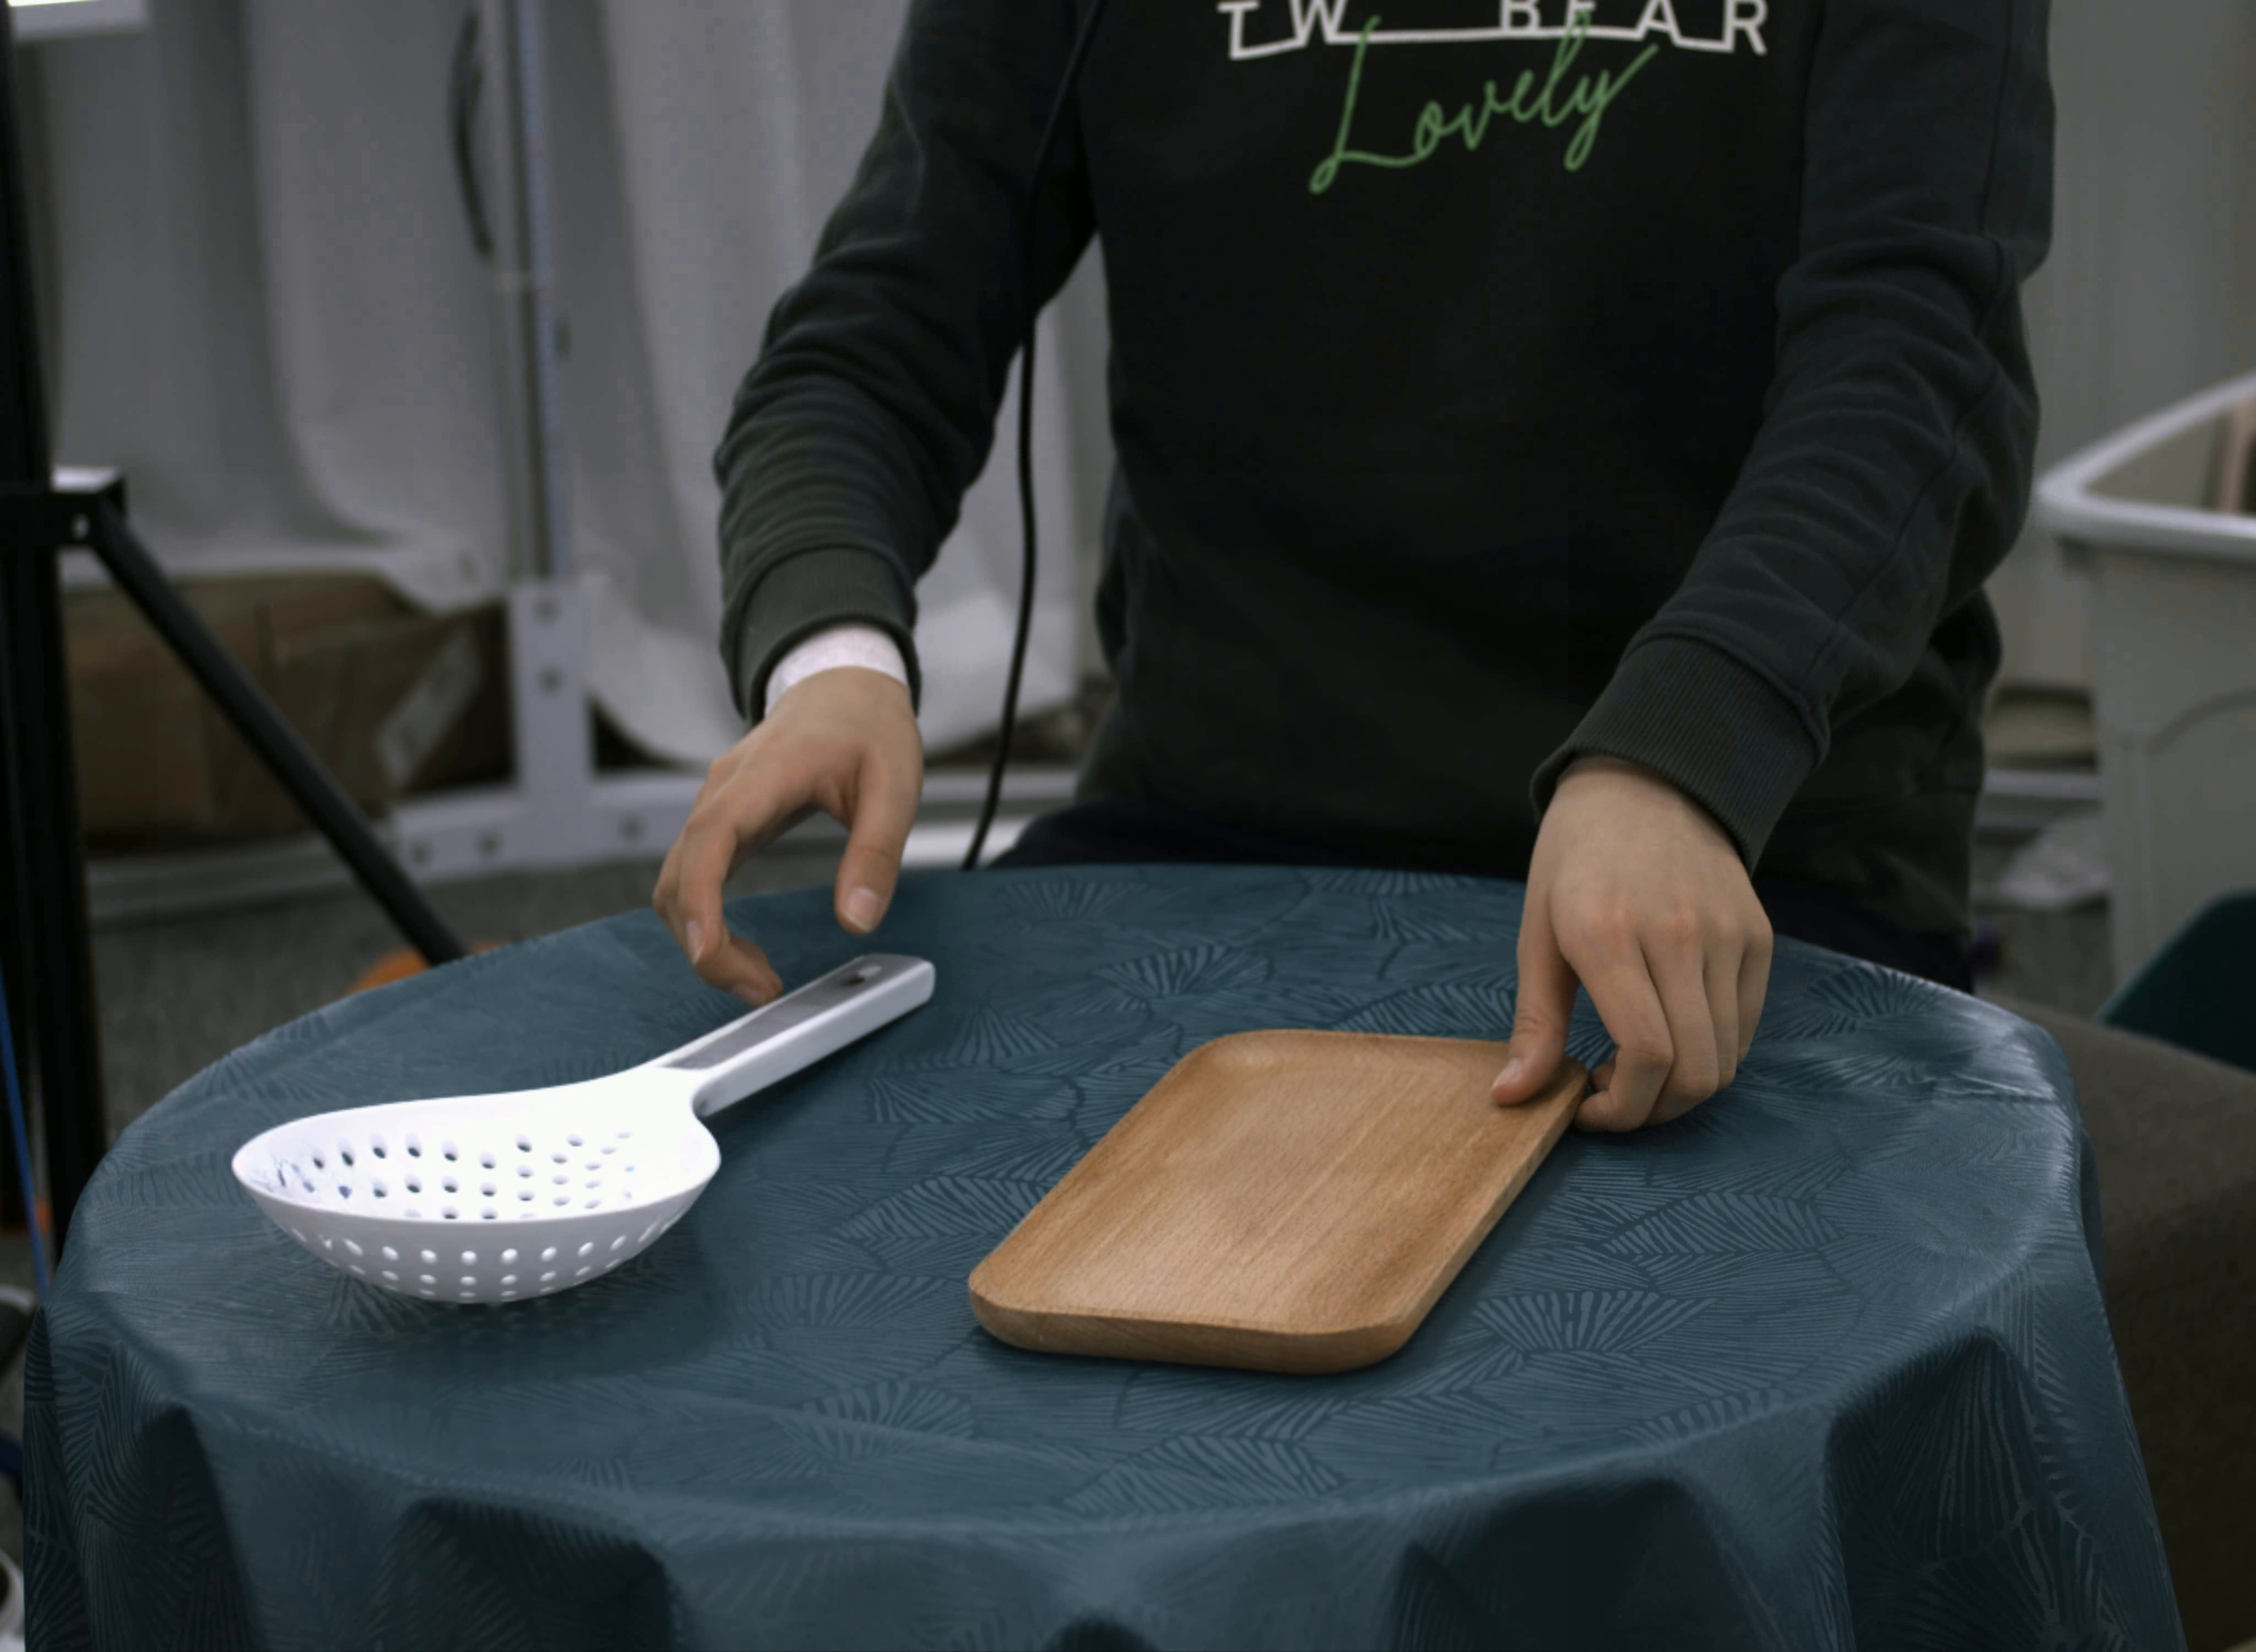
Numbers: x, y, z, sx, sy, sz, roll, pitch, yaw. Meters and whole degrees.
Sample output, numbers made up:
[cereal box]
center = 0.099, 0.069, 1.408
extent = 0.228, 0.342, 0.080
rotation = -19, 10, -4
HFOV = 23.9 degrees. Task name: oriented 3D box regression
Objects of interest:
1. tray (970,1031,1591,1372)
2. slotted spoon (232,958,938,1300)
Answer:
[tray]
center = 0.049, 0.105, 1.529
extent = 0.132, 0.023, 0.248
rotation = 5, 16, 19
[slotted spoon]
center = -0.141, 0.081, 1.594
extent = 0.138, 0.046, 0.345
rotation = 7, 17, 23
